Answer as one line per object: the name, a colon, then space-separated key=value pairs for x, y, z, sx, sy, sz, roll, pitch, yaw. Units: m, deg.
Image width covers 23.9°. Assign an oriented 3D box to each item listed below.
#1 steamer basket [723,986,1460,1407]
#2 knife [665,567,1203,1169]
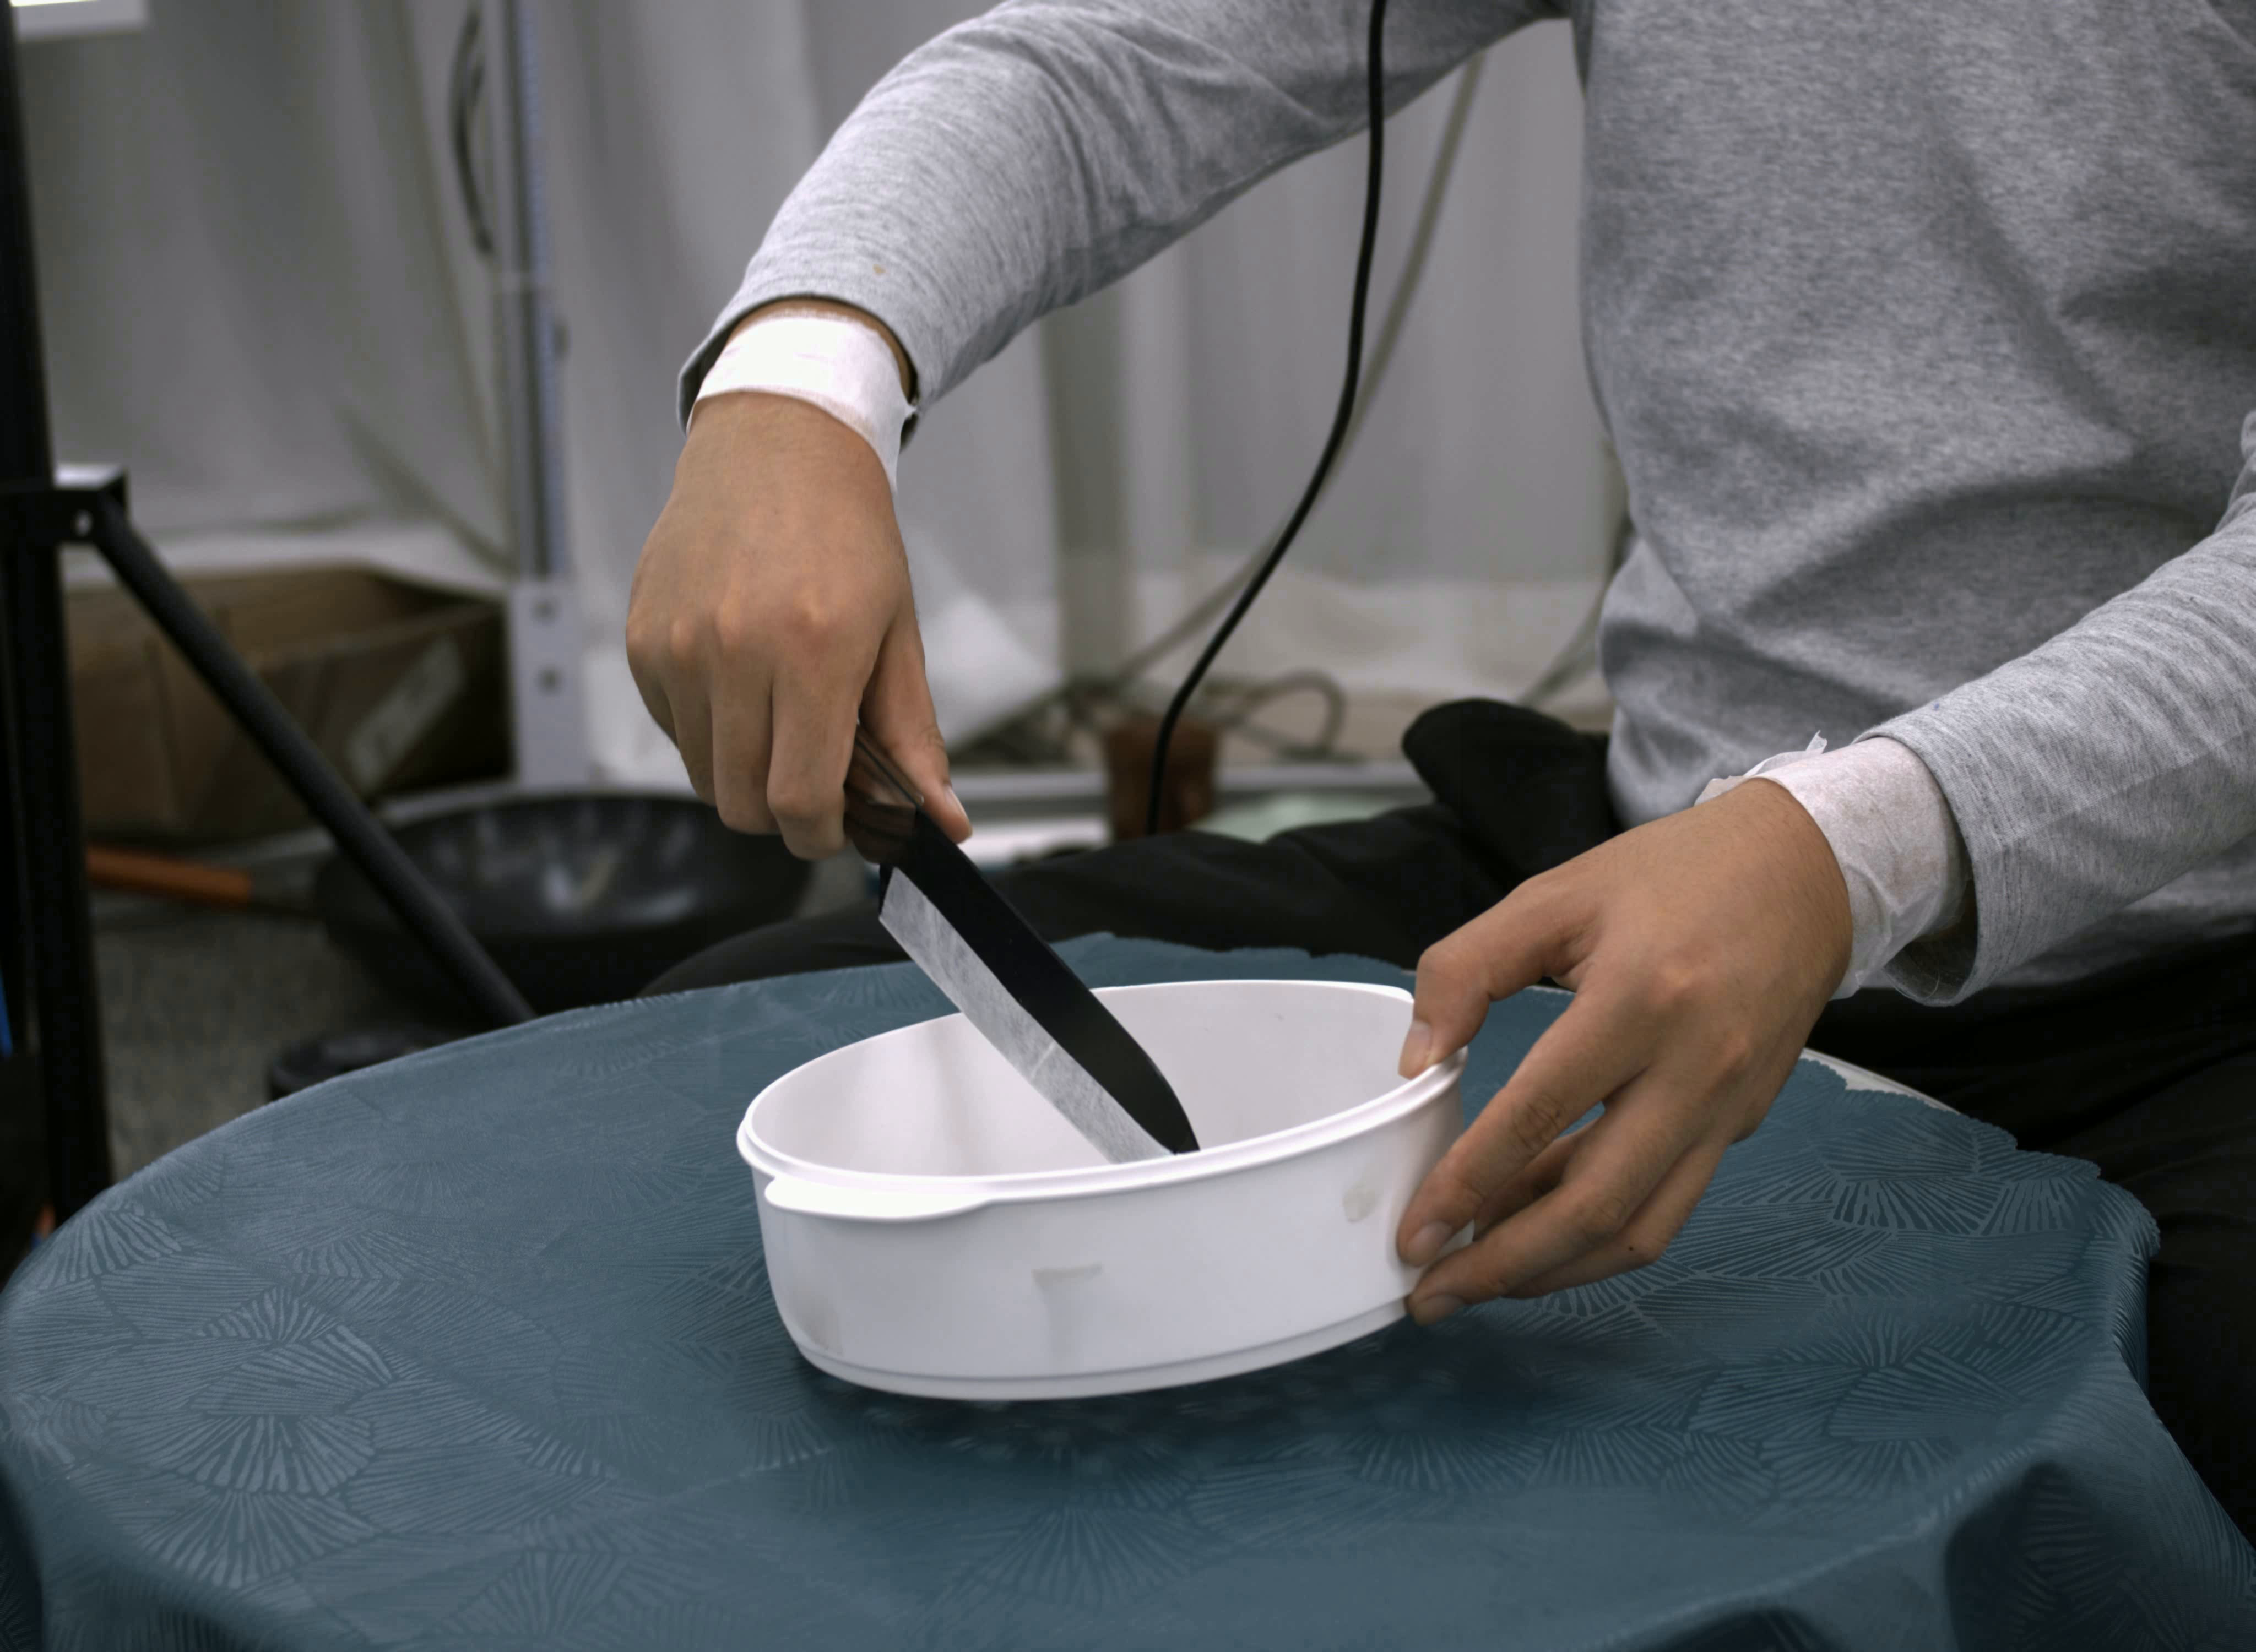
steamer basket: x=-0.007 y=0.100 z=1.443 sx=0.206 sy=0.069 sz=0.225 roll=3 pitch=15 yaw=39
knife: x=-0.053 y=0.018 z=1.503 sx=0.019 sy=0.050 sz=0.295 roll=-13 pitch=45 yaw=-33
